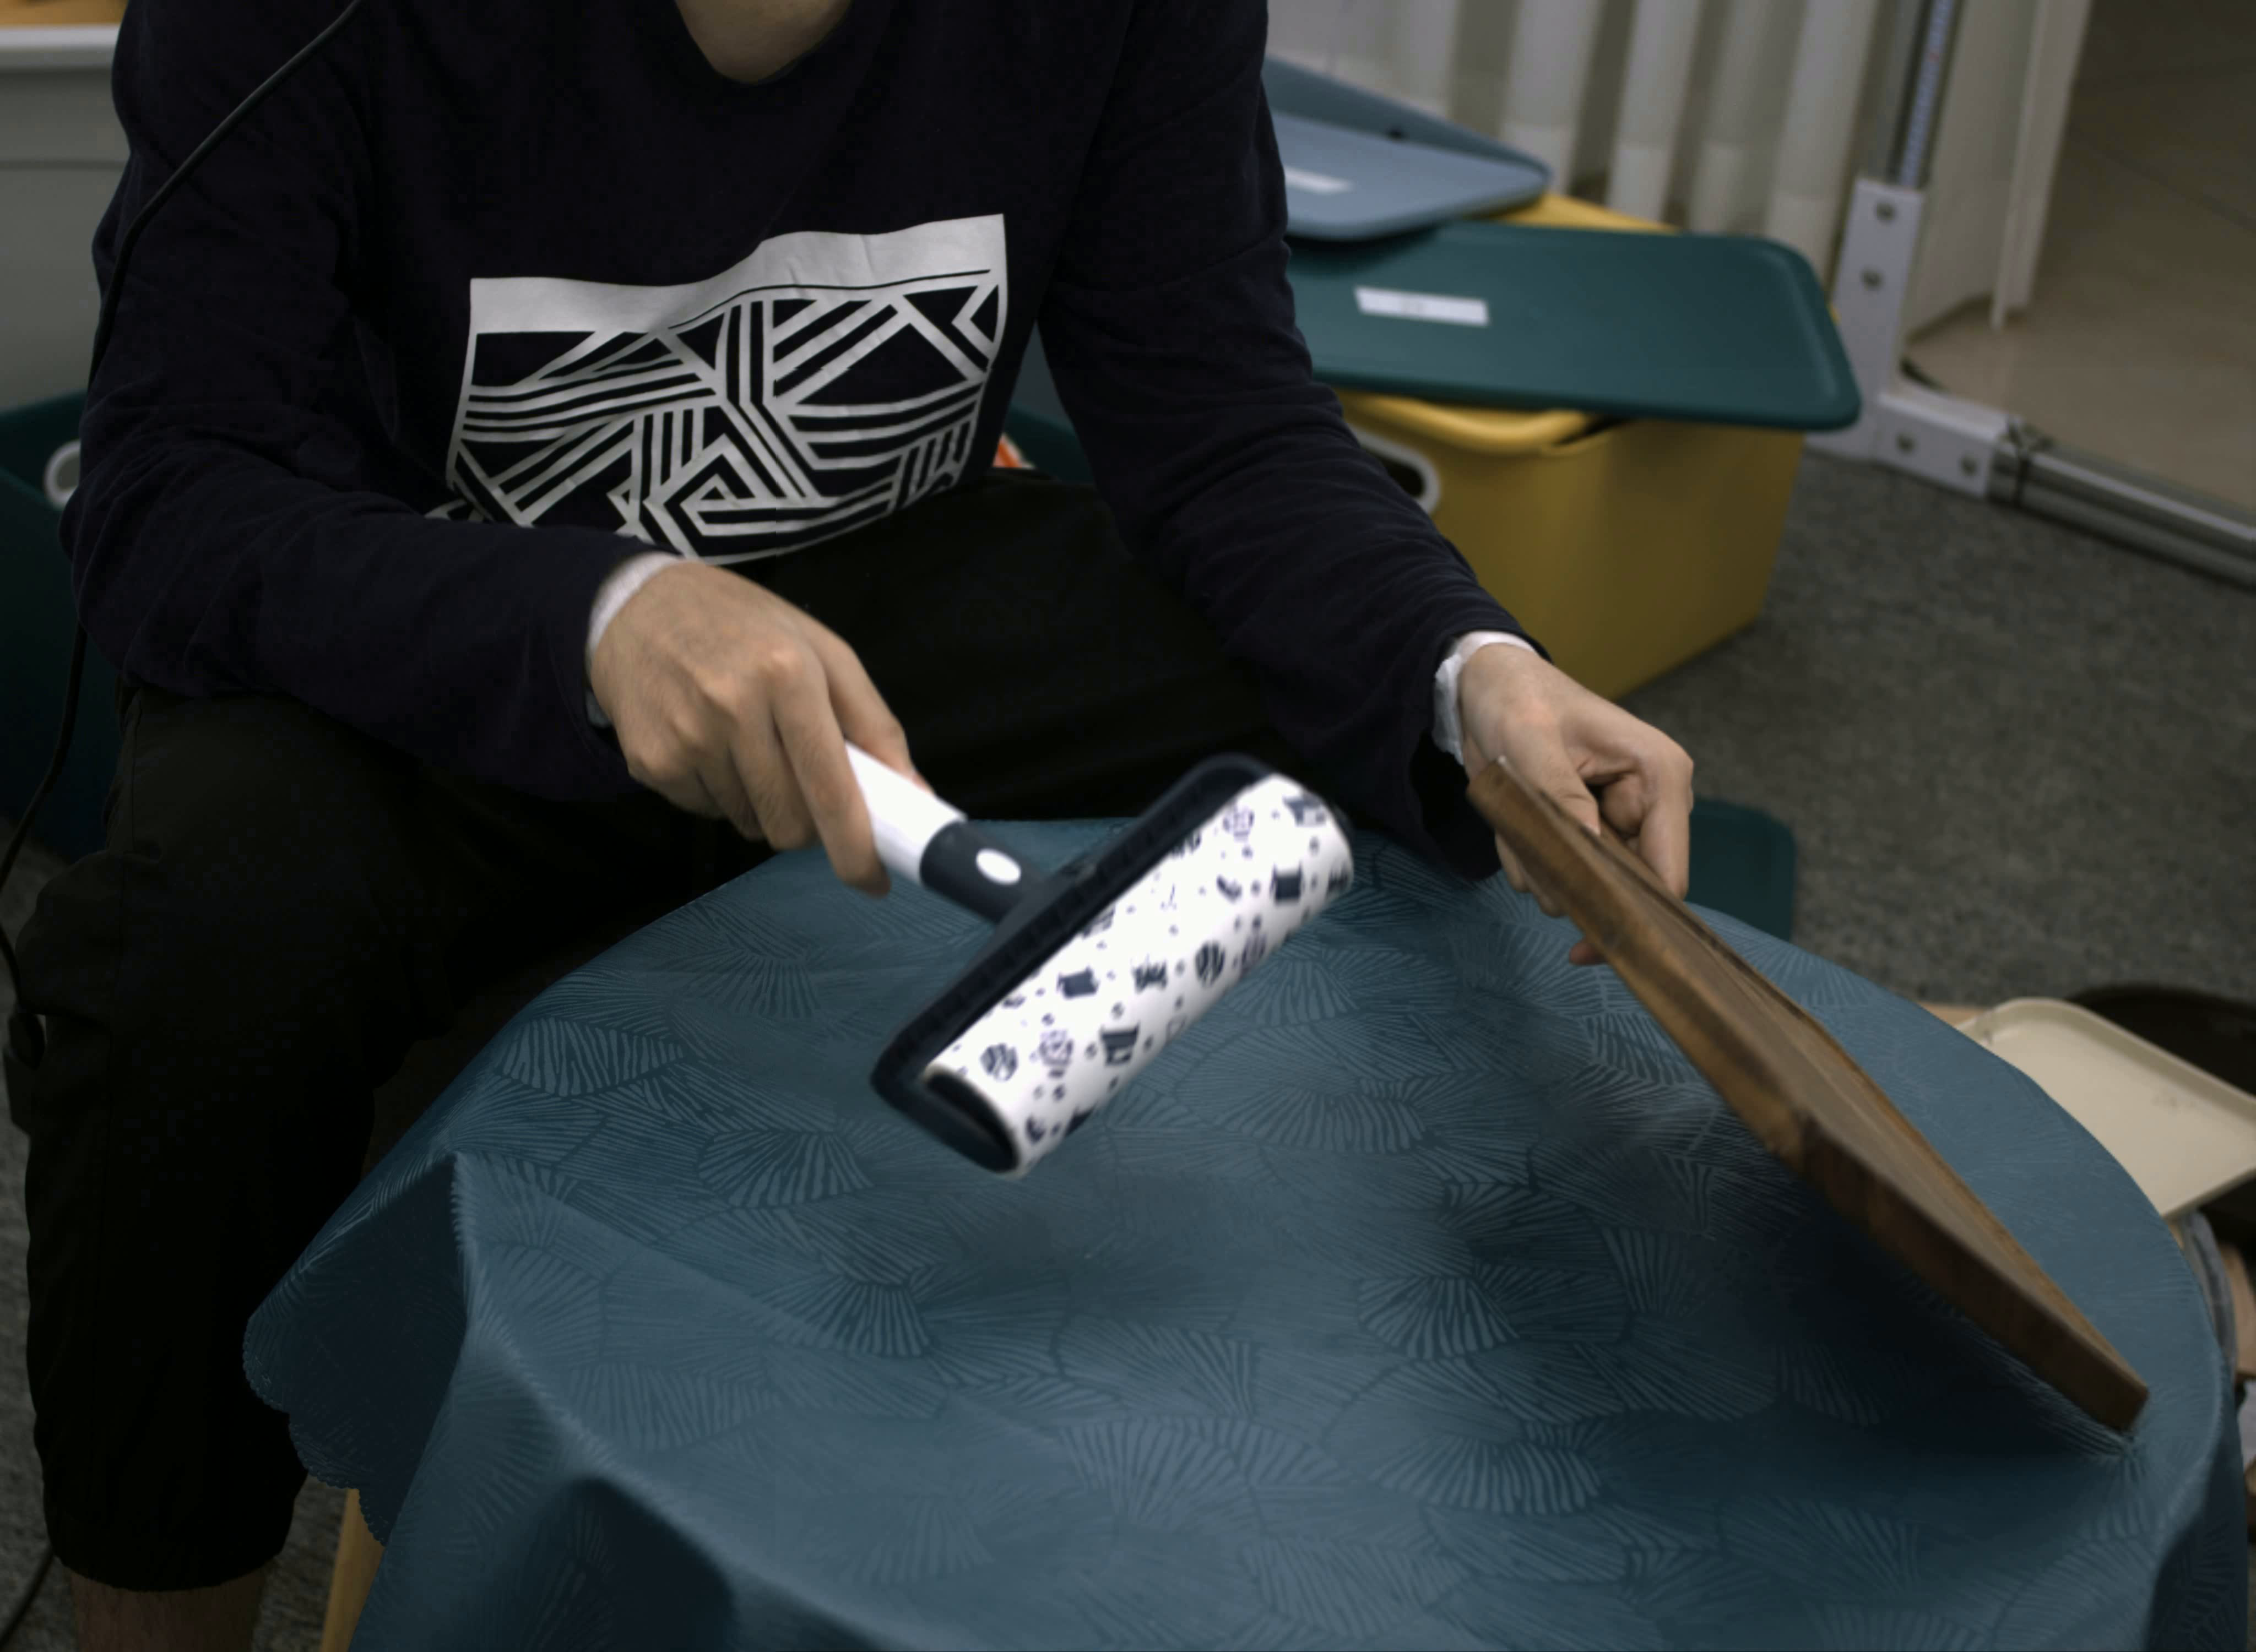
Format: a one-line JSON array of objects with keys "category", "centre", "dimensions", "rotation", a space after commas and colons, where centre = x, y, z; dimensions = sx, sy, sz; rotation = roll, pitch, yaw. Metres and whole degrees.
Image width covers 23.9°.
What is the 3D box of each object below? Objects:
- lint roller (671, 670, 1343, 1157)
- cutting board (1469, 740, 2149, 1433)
[{"category": "lint roller", "centre": [-0.070, 0.000, 1.815], "dimensions": [0.249, 0.050, 0.176], "rotation": [29, 61, 33]}, {"category": "cutting board", "centre": [0.207, 0.061, 1.805], "dimensions": [0.199, 0.023, 0.355], "rotation": [40, 8, -33]}]
